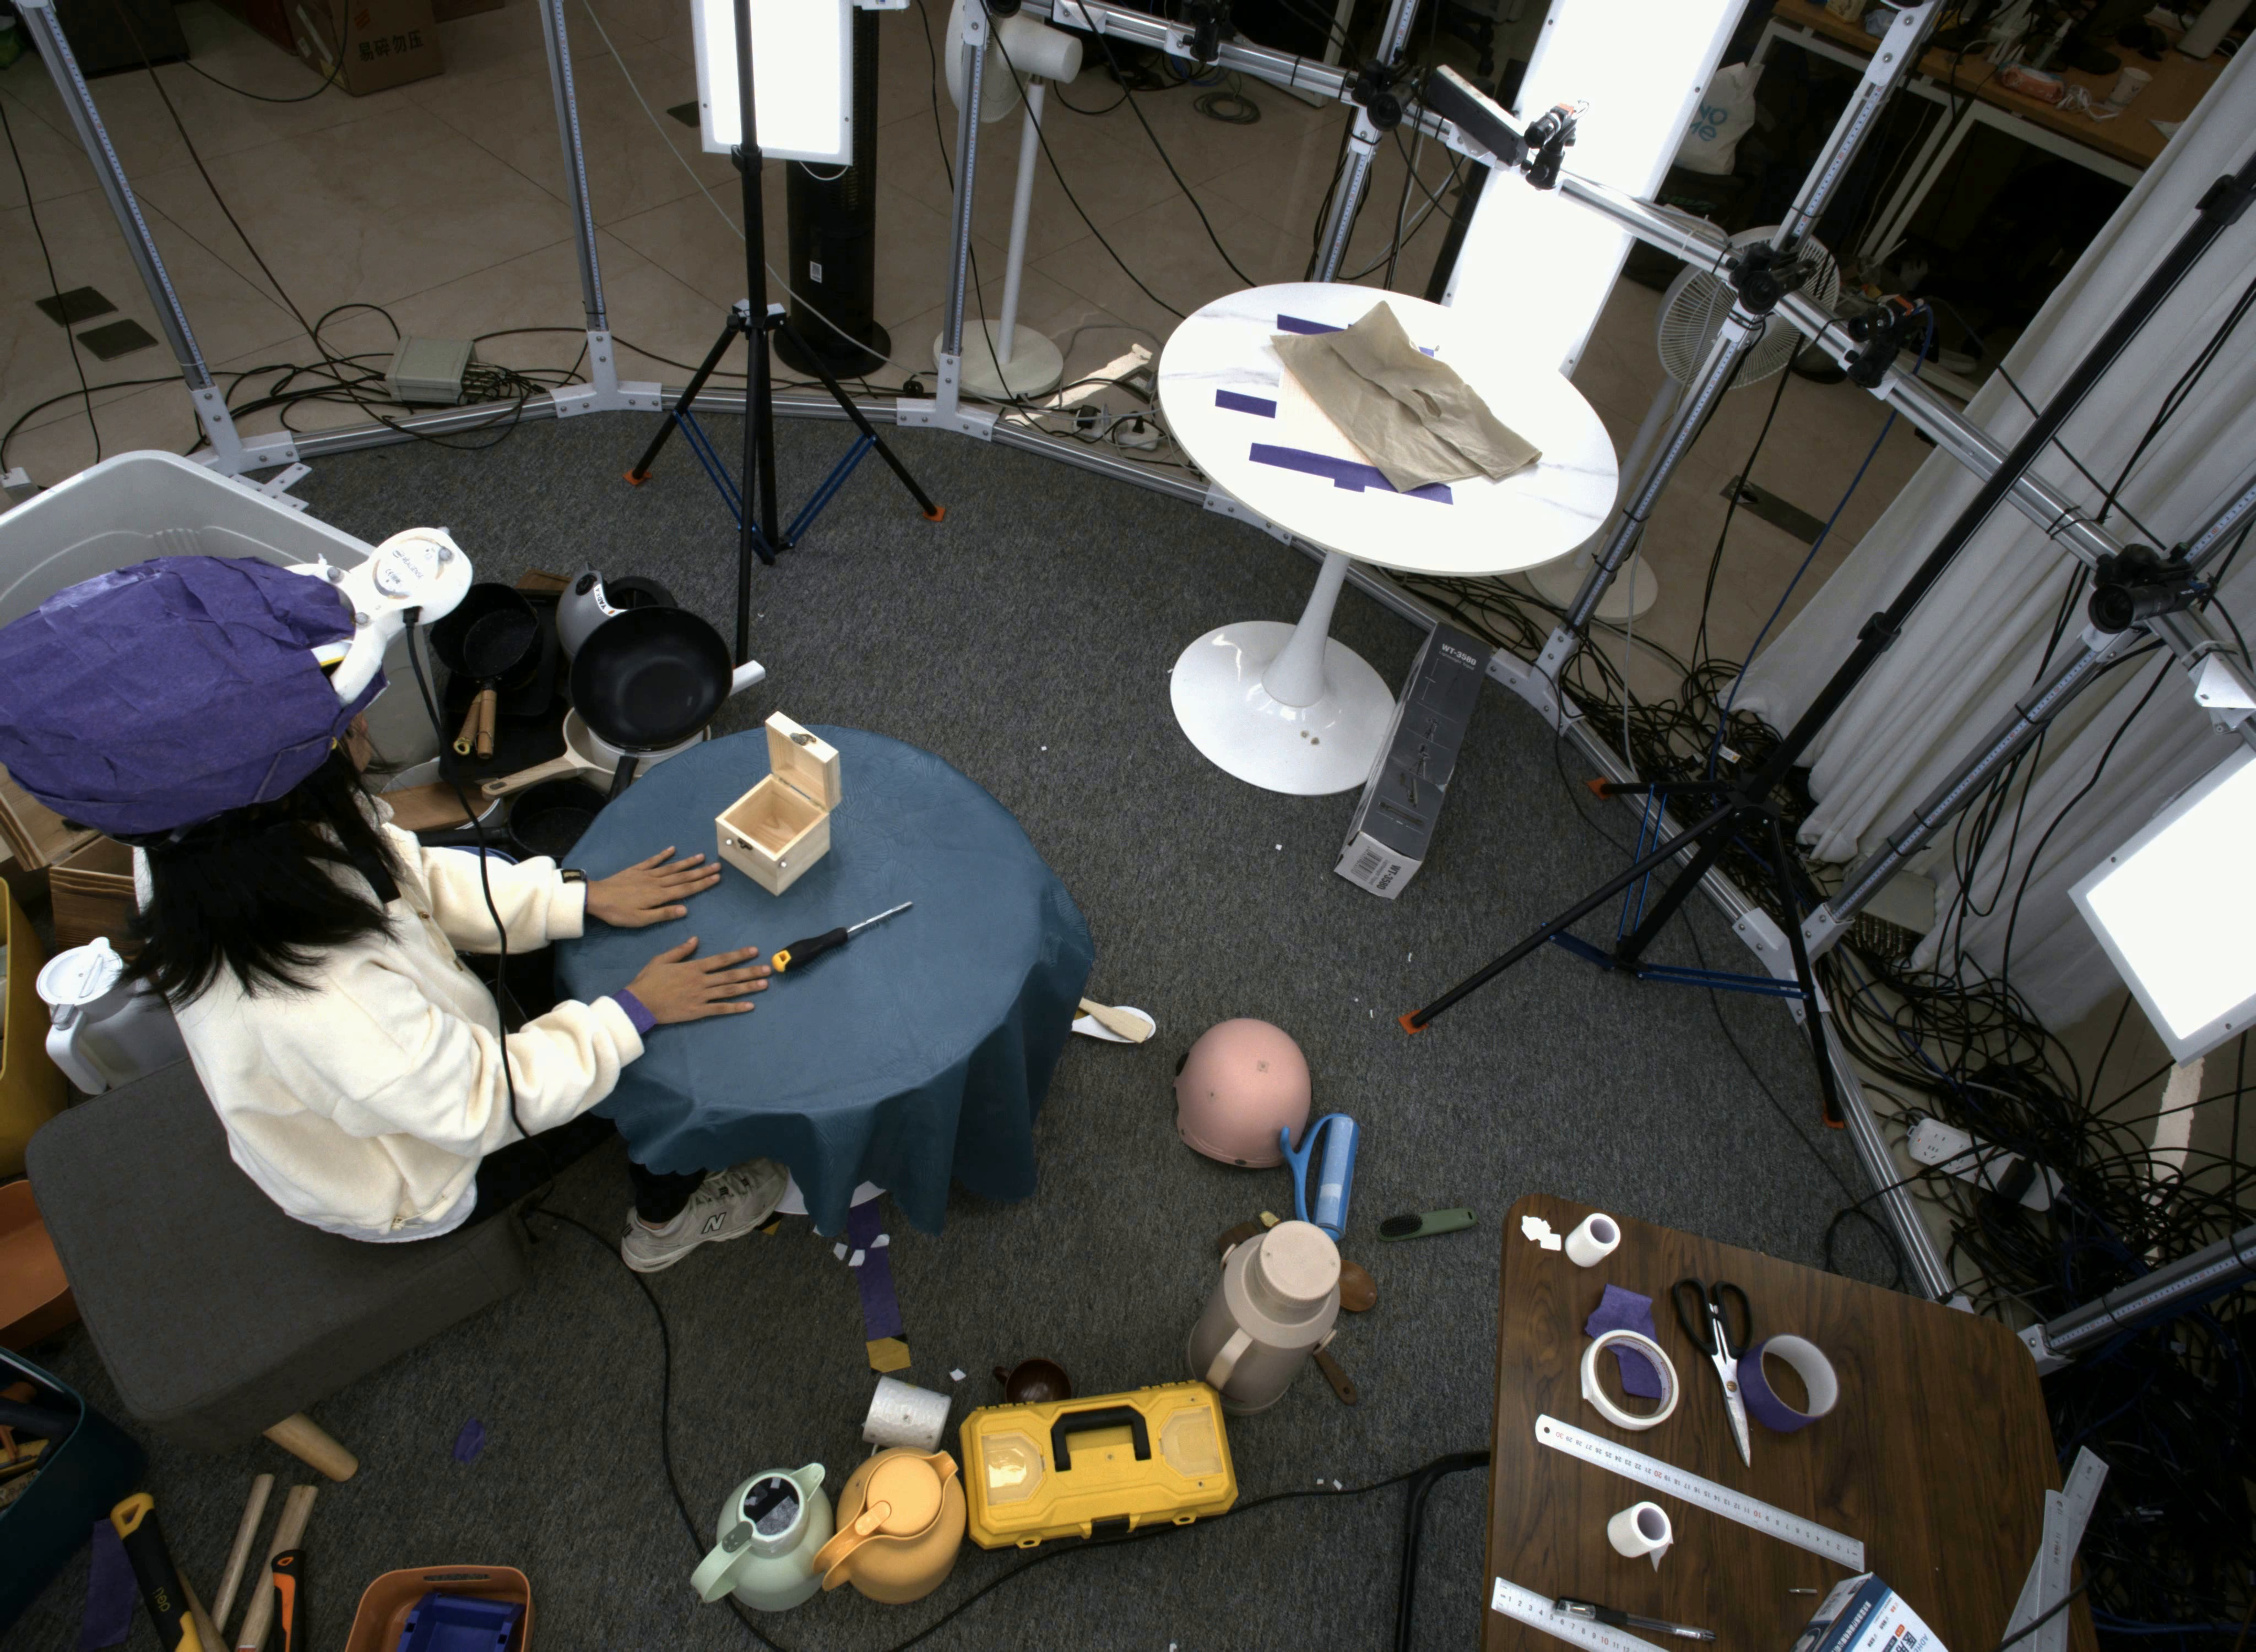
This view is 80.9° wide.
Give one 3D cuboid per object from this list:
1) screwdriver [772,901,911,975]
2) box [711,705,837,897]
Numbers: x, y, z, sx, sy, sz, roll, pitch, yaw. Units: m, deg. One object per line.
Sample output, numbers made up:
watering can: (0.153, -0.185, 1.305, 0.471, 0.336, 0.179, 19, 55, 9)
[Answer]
screwdriver: (-0.353, 0.136, 1.622, 0.199, 0.032, 0.030, -23, 61, -31)
box: (-0.444, -0.030, 1.617, 0.101, 0.188, 0.133, 30, 52, 12)
